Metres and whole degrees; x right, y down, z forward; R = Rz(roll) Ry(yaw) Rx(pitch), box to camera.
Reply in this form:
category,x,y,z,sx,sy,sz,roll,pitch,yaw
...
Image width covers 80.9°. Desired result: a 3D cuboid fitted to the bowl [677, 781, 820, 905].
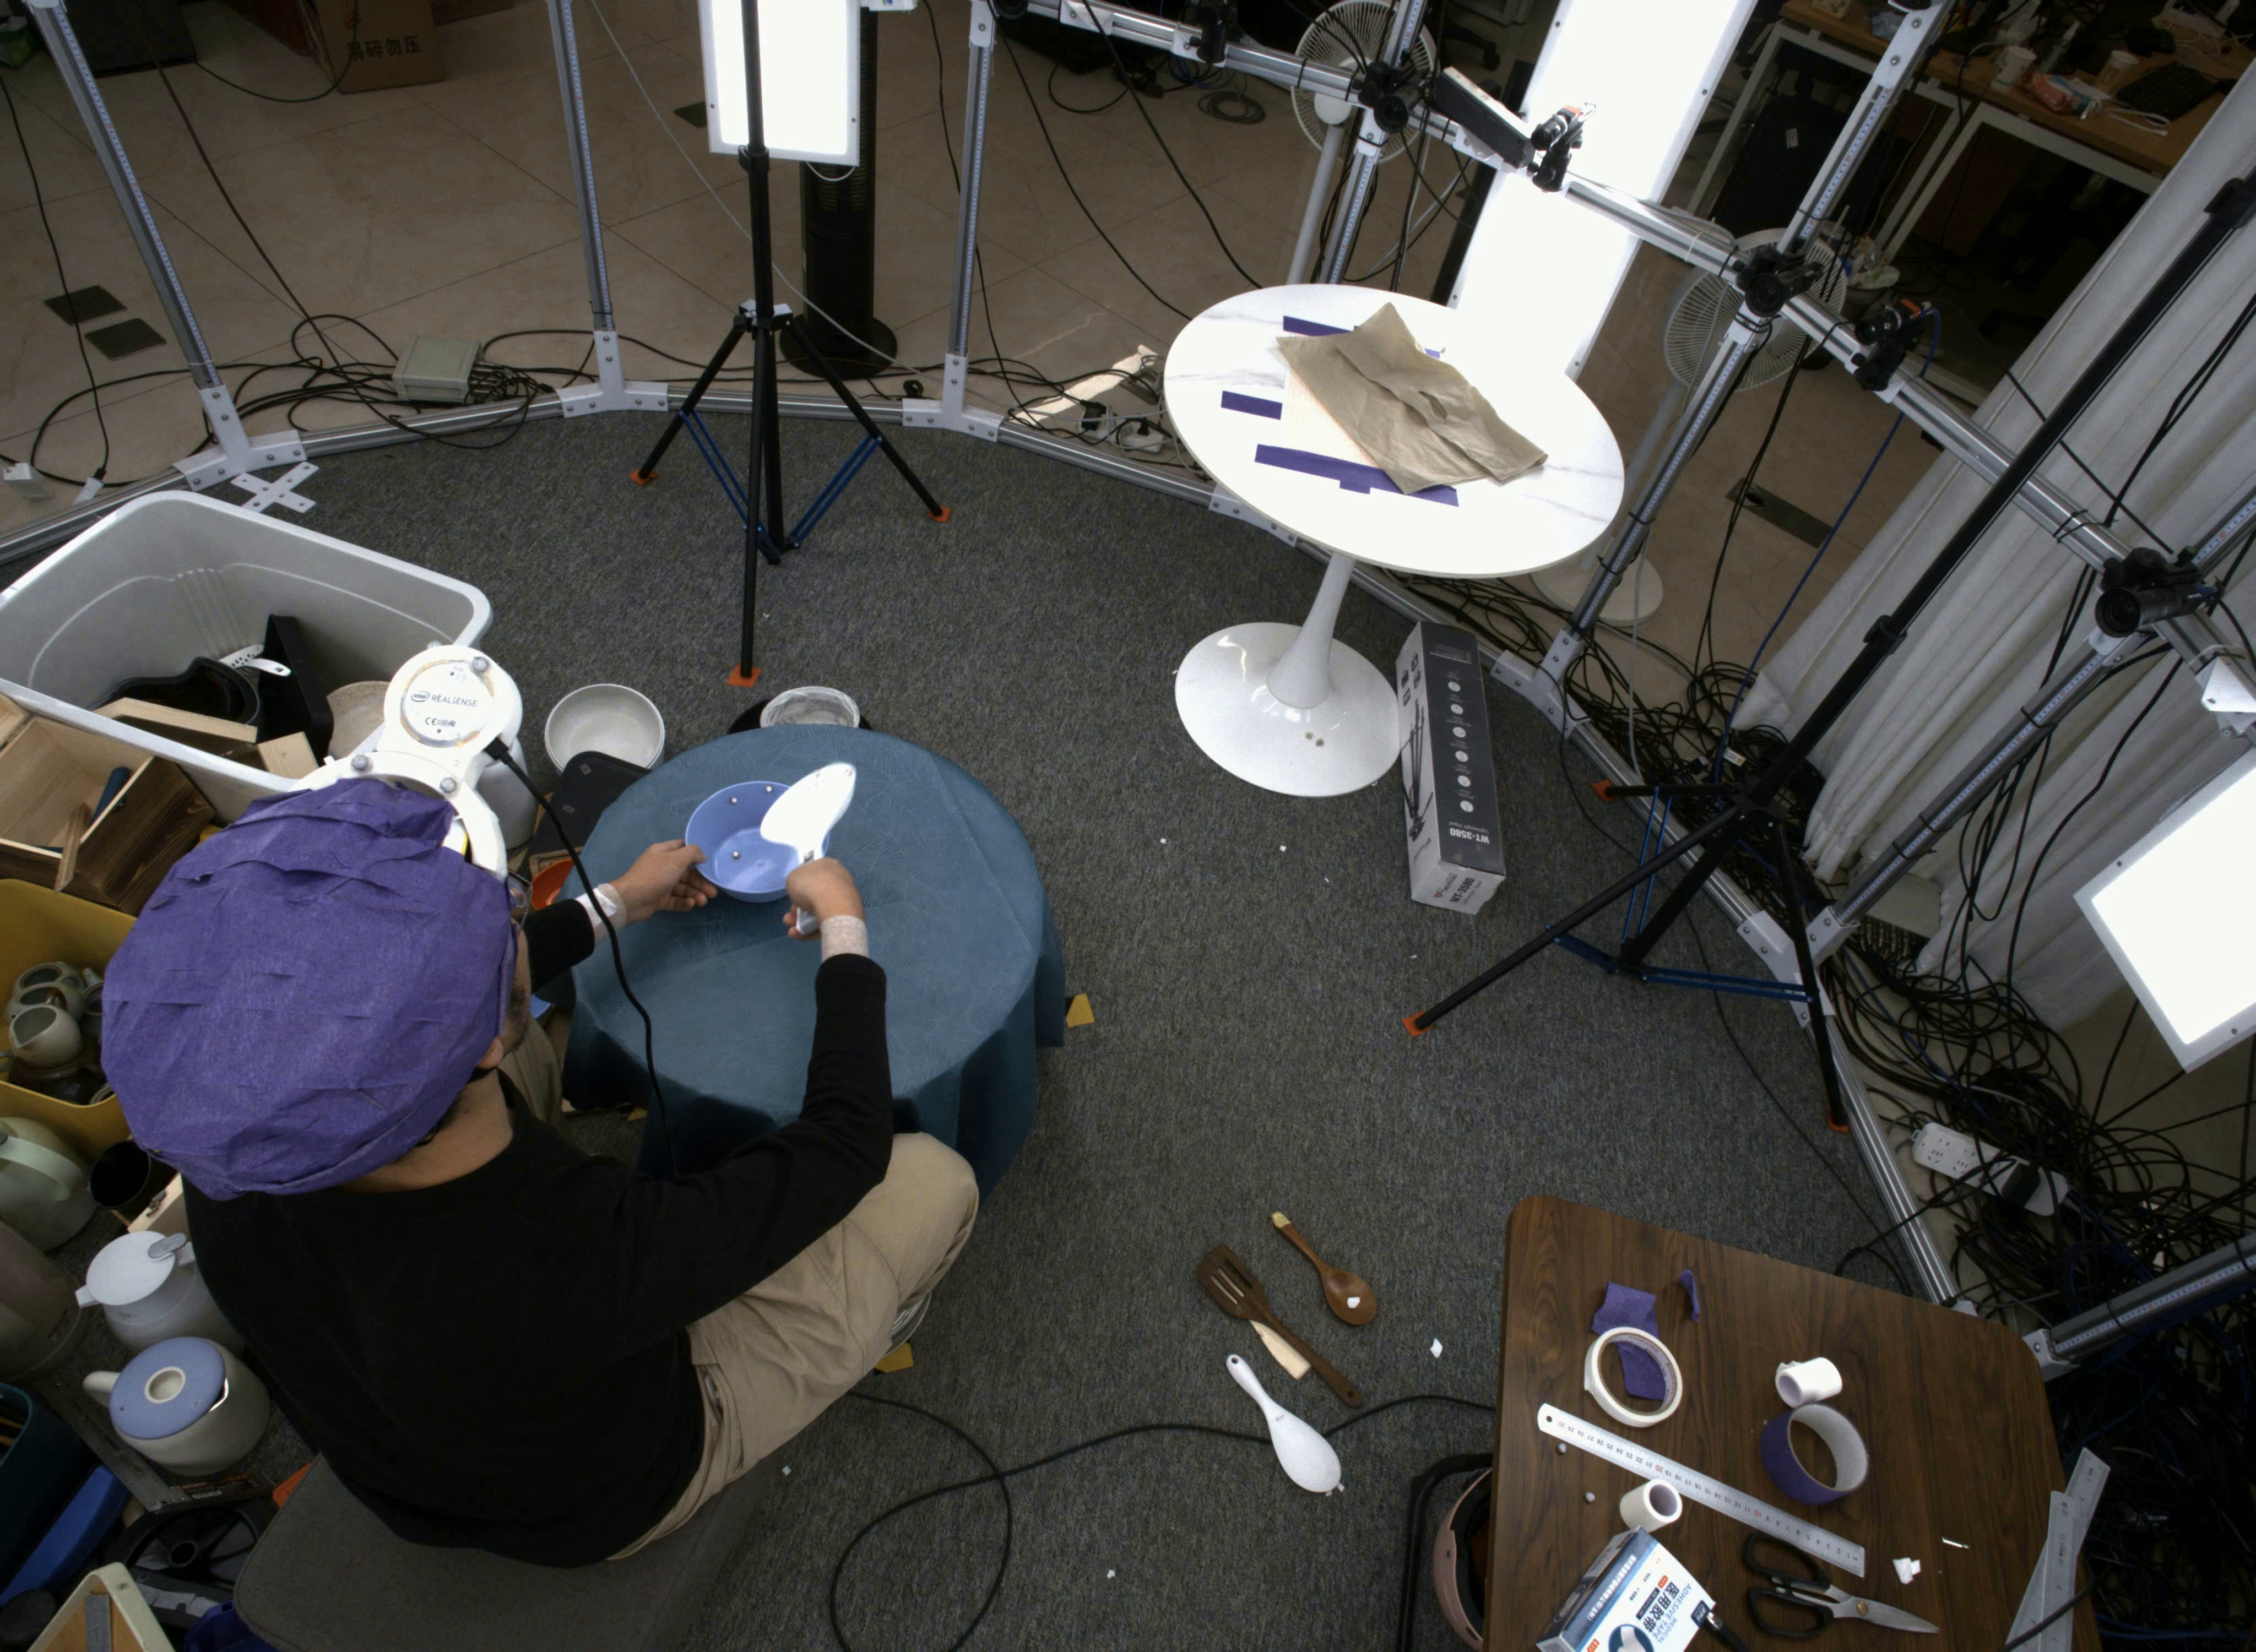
category,x,y,z,sx,sy,sz,roll,pitch,yaw
bowl,-0.477,0.031,1.636,0.176,0.071,0.173,7,53,-8

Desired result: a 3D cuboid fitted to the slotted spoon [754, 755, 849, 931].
category,x,y,z,sx,sy,sz,roll,pitch,yaw
slotted spoon,-0.368,0.016,1.477,0.135,0.047,0.340,-30,27,3
